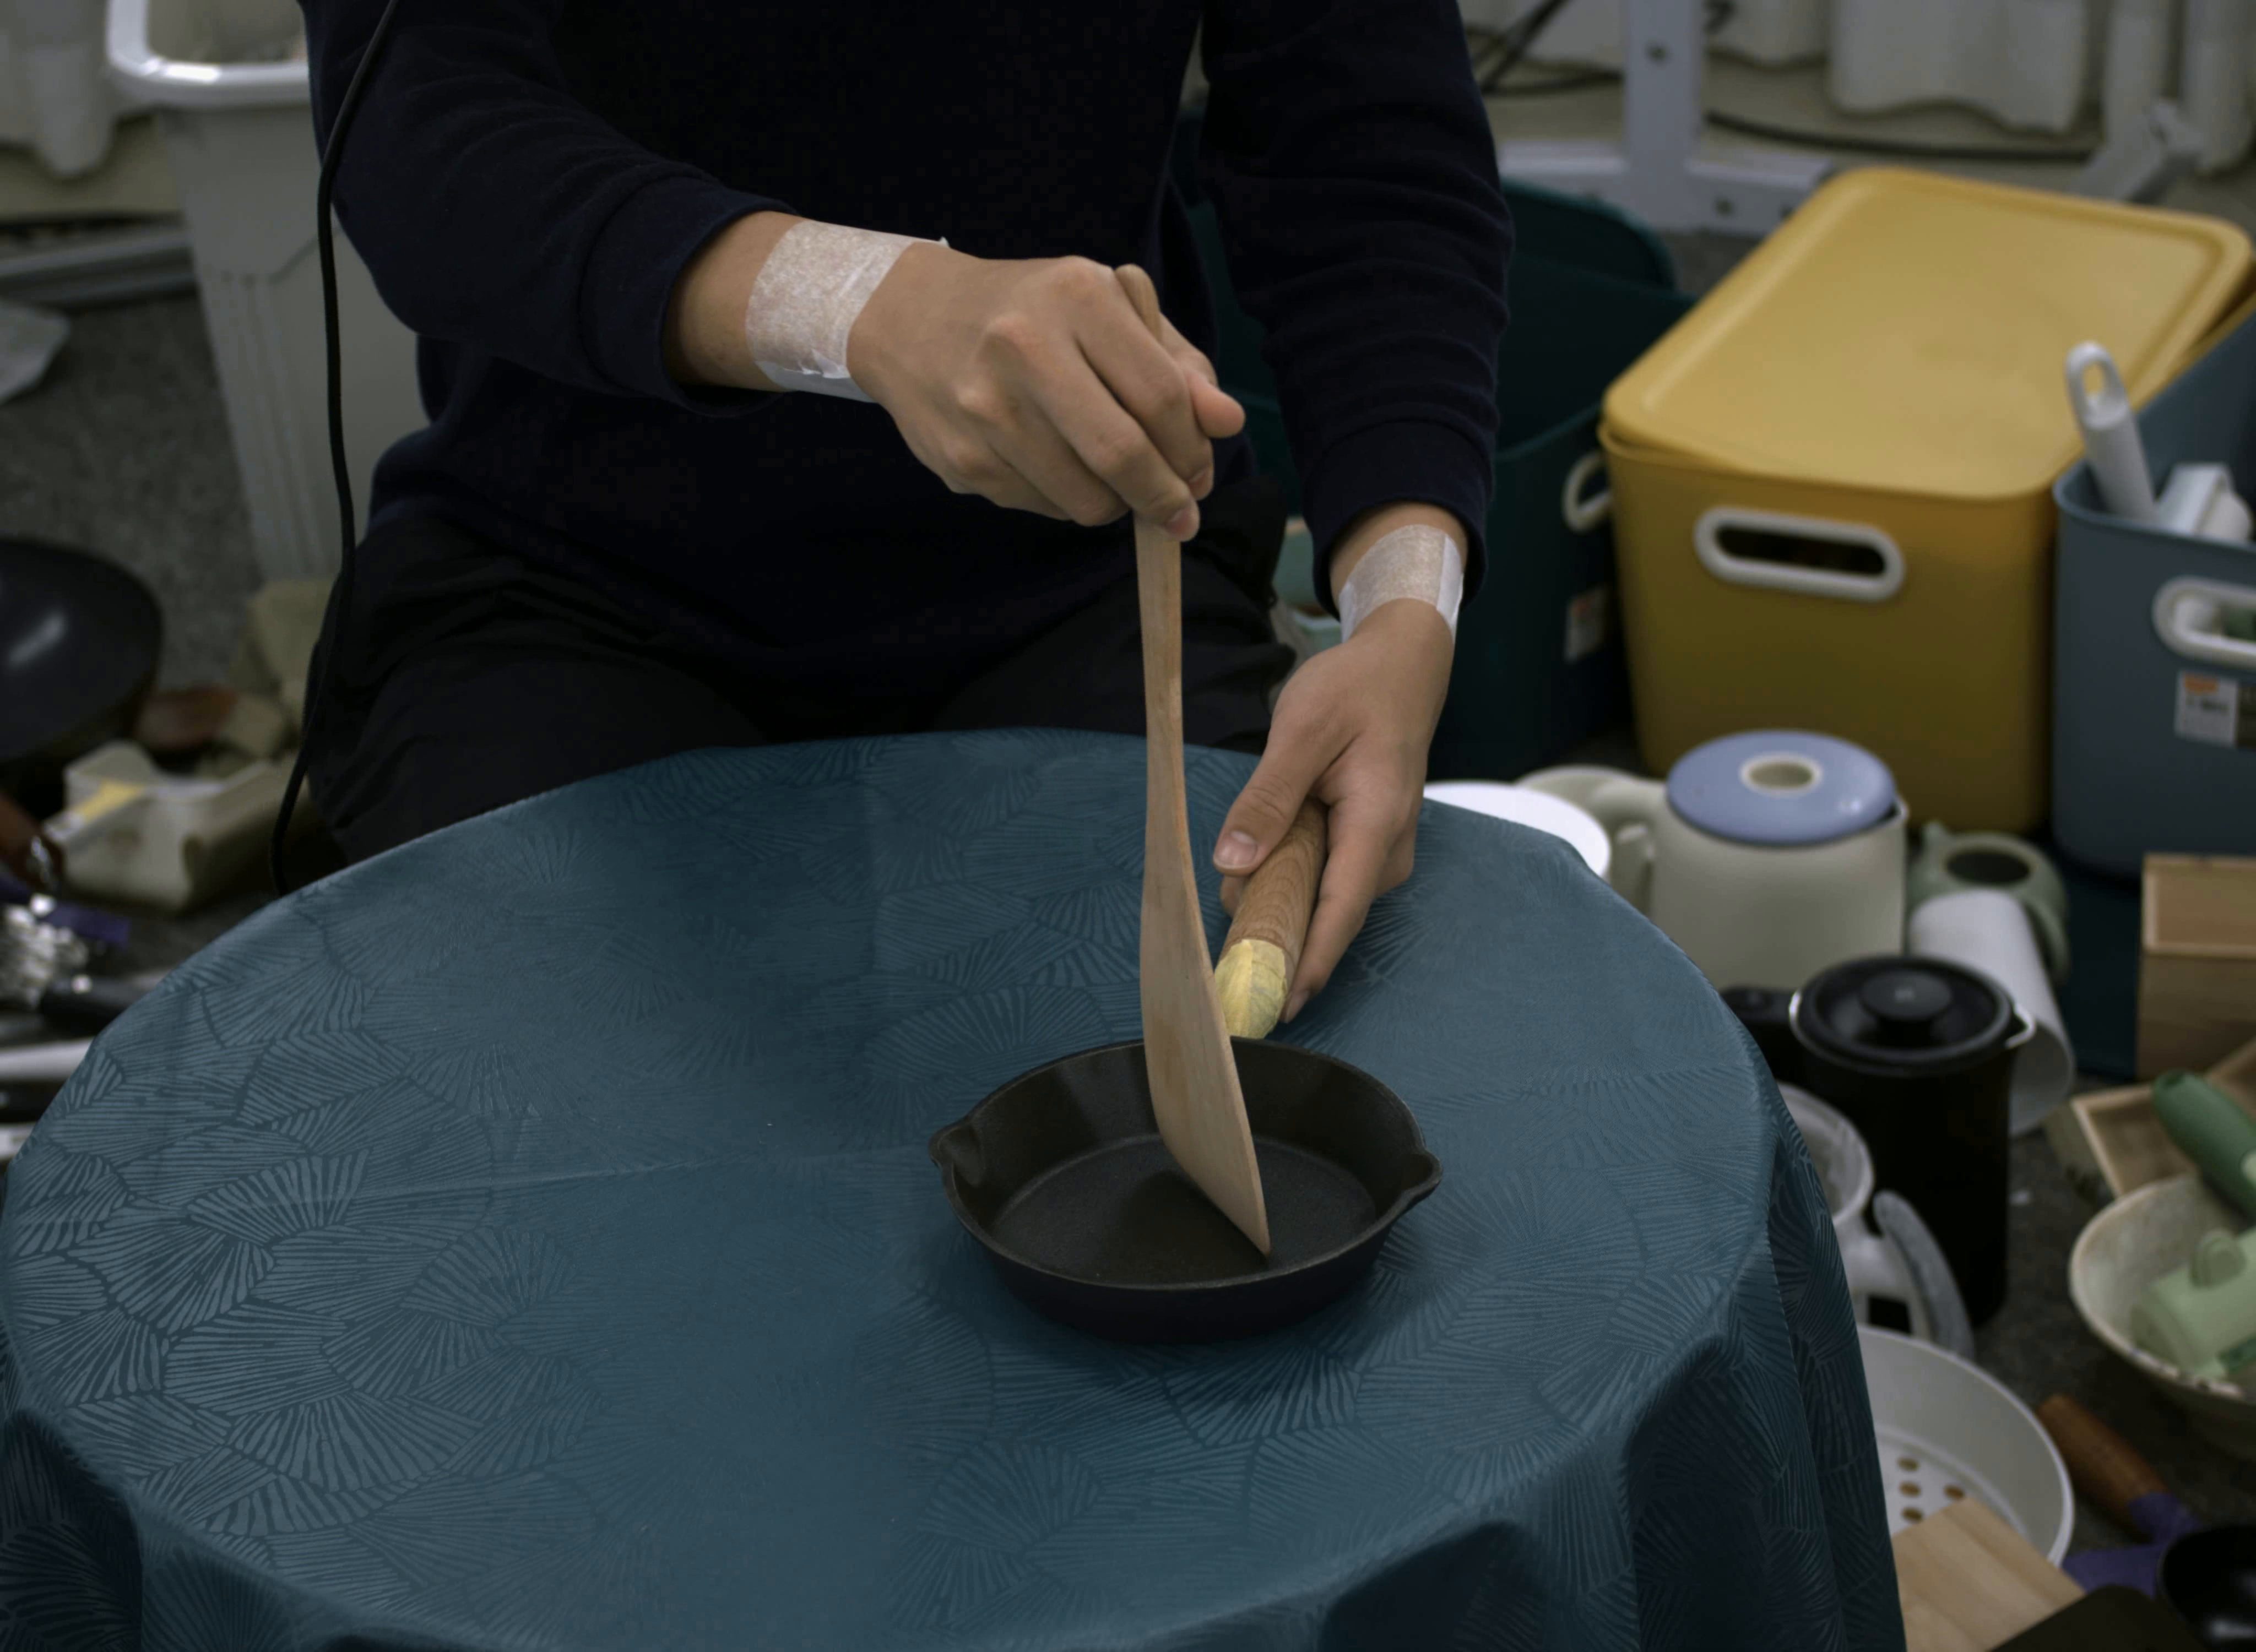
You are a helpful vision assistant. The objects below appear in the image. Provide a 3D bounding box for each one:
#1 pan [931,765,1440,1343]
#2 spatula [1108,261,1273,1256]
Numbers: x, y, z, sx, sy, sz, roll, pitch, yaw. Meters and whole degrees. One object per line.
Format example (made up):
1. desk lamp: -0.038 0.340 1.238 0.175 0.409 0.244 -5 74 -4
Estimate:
1. pan: 0.038 0.074 1.896 0.168 0.049 0.330 4 29 13
2. spatula: 0.014 -0.020 1.790 0.016 0.325 0.080 -12 20 -23
